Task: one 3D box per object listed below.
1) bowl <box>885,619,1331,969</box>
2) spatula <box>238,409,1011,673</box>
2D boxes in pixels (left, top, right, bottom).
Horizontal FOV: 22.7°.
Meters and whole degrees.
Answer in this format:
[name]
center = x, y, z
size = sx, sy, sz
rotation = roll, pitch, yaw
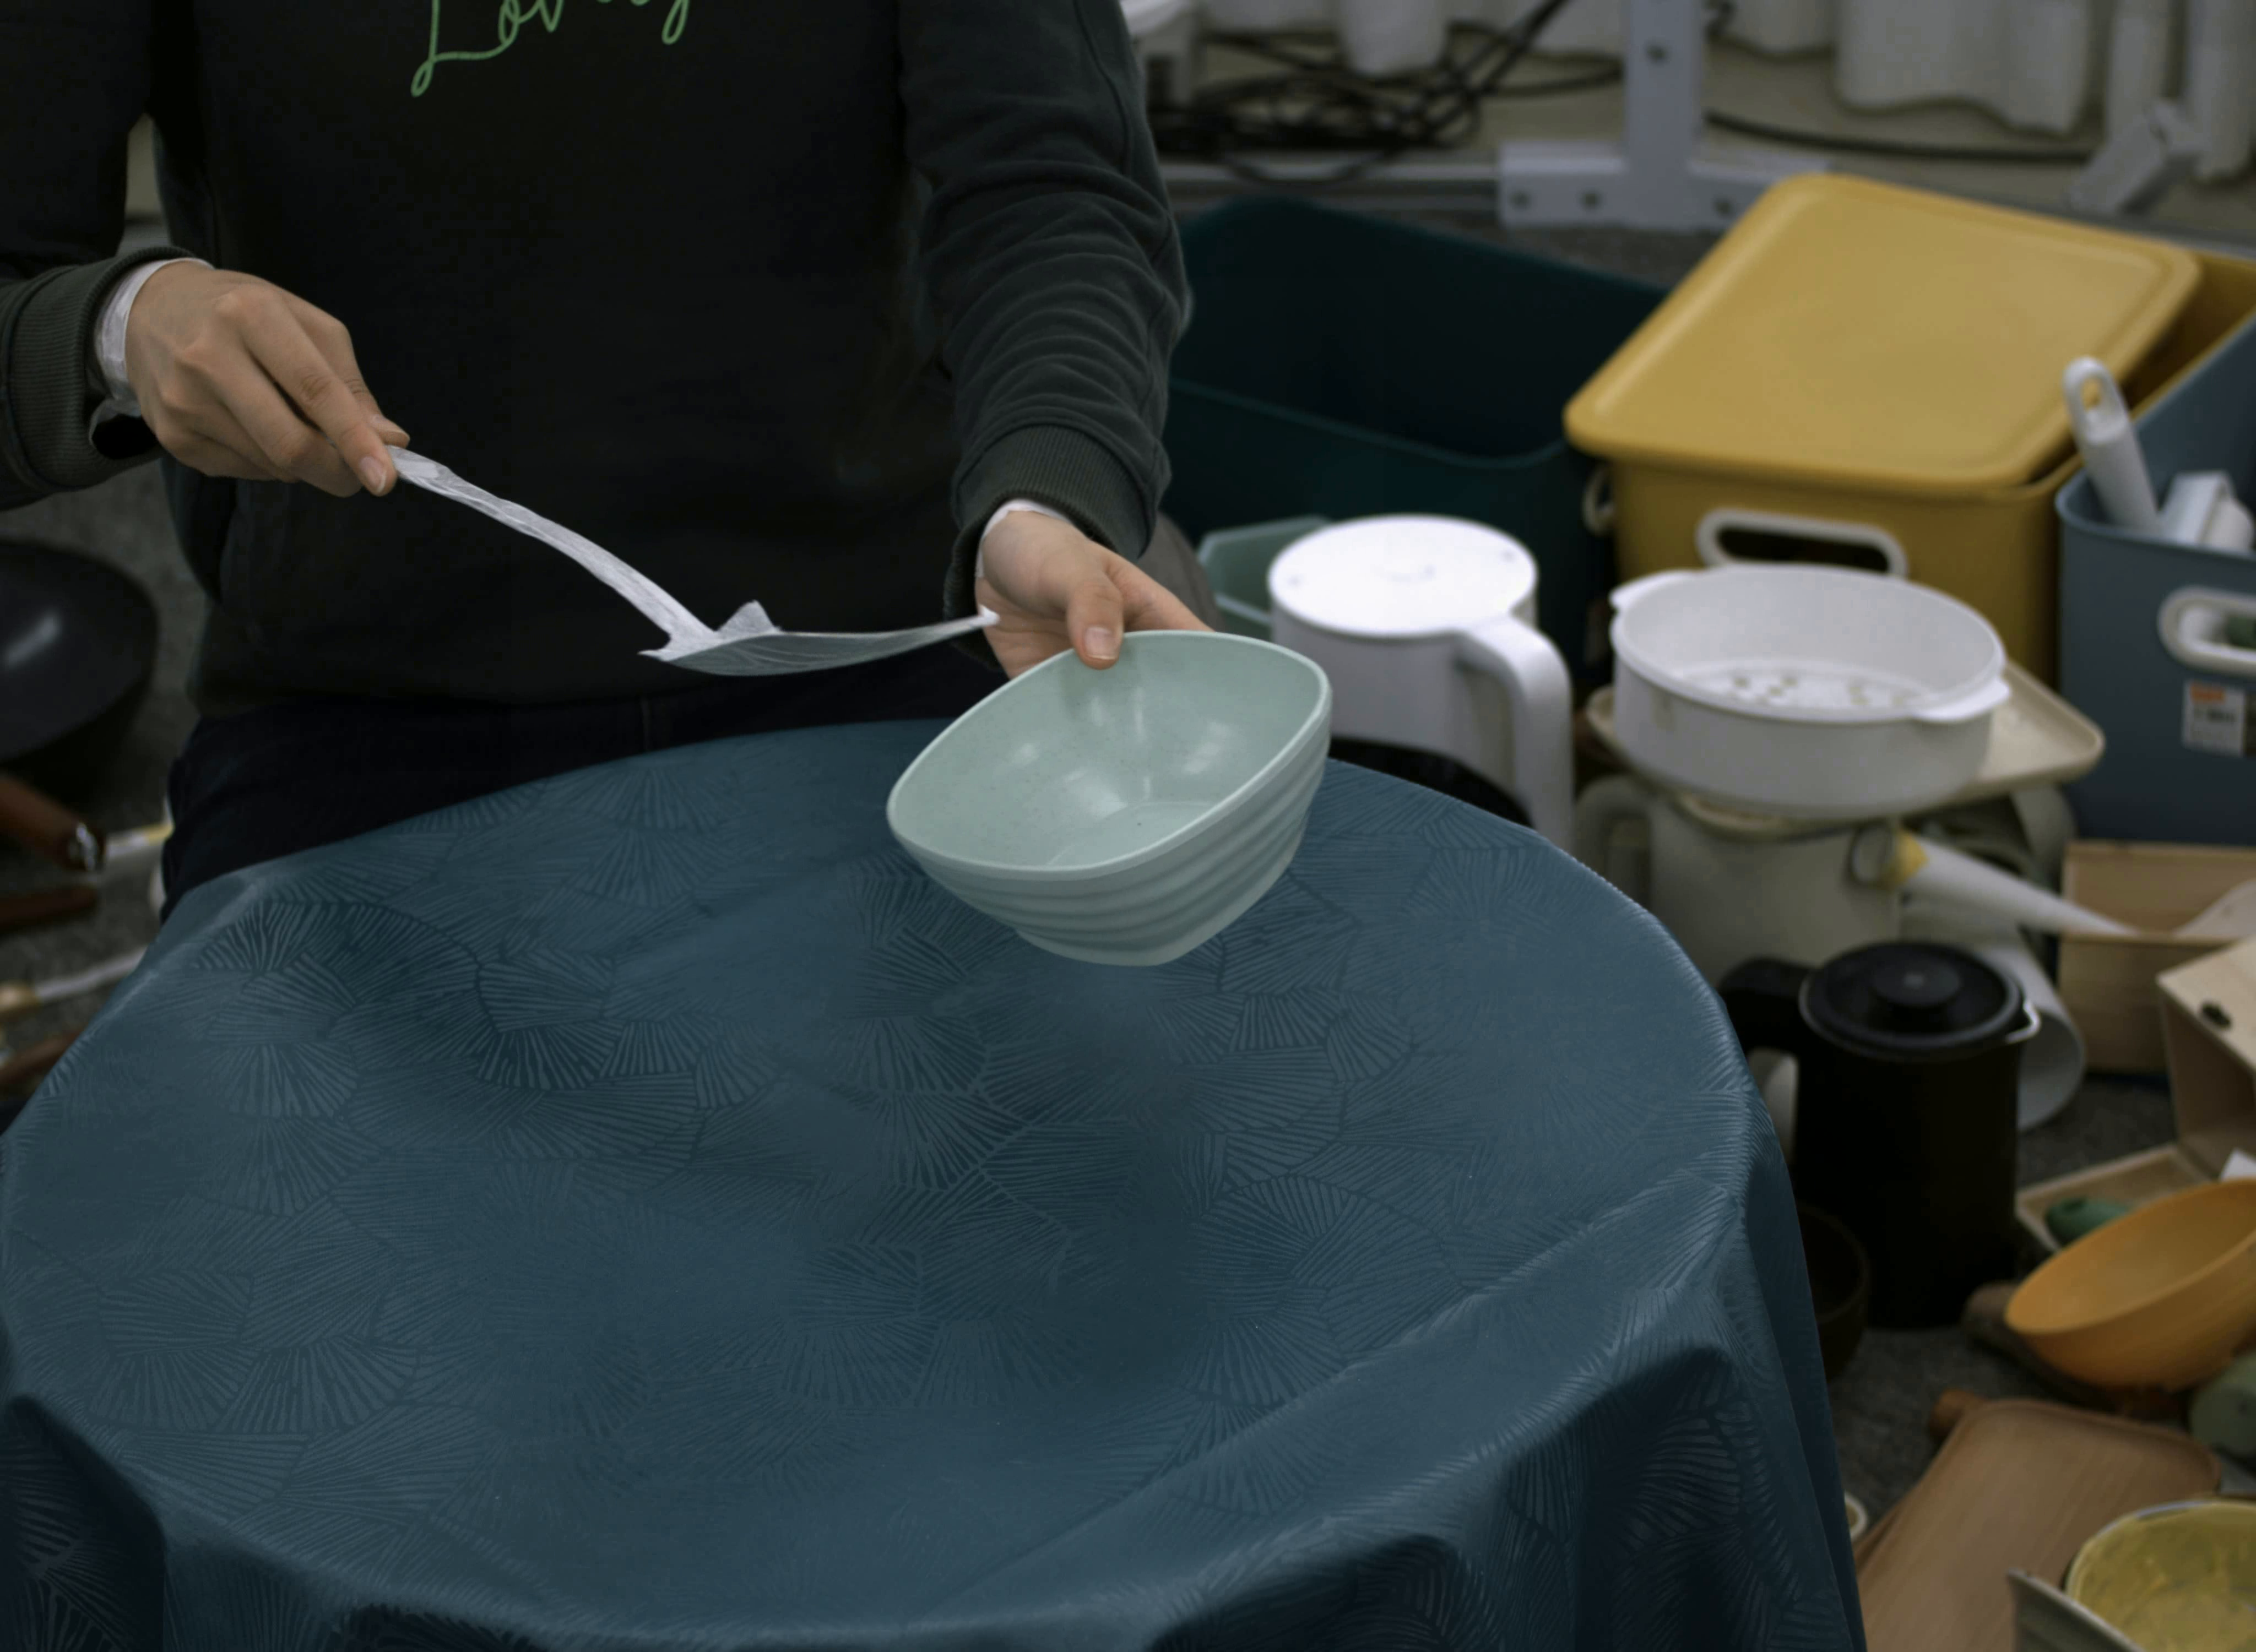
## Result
[bowl]
center = 0.000, -0.004, 1.844
size = 0.150, 0.058, 0.154
rotation = -13, 32, 8
[spatula]
center = -0.187, -0.102, 1.851
size = 0.099, 0.044, 0.364
rotation = -7, 24, -44
